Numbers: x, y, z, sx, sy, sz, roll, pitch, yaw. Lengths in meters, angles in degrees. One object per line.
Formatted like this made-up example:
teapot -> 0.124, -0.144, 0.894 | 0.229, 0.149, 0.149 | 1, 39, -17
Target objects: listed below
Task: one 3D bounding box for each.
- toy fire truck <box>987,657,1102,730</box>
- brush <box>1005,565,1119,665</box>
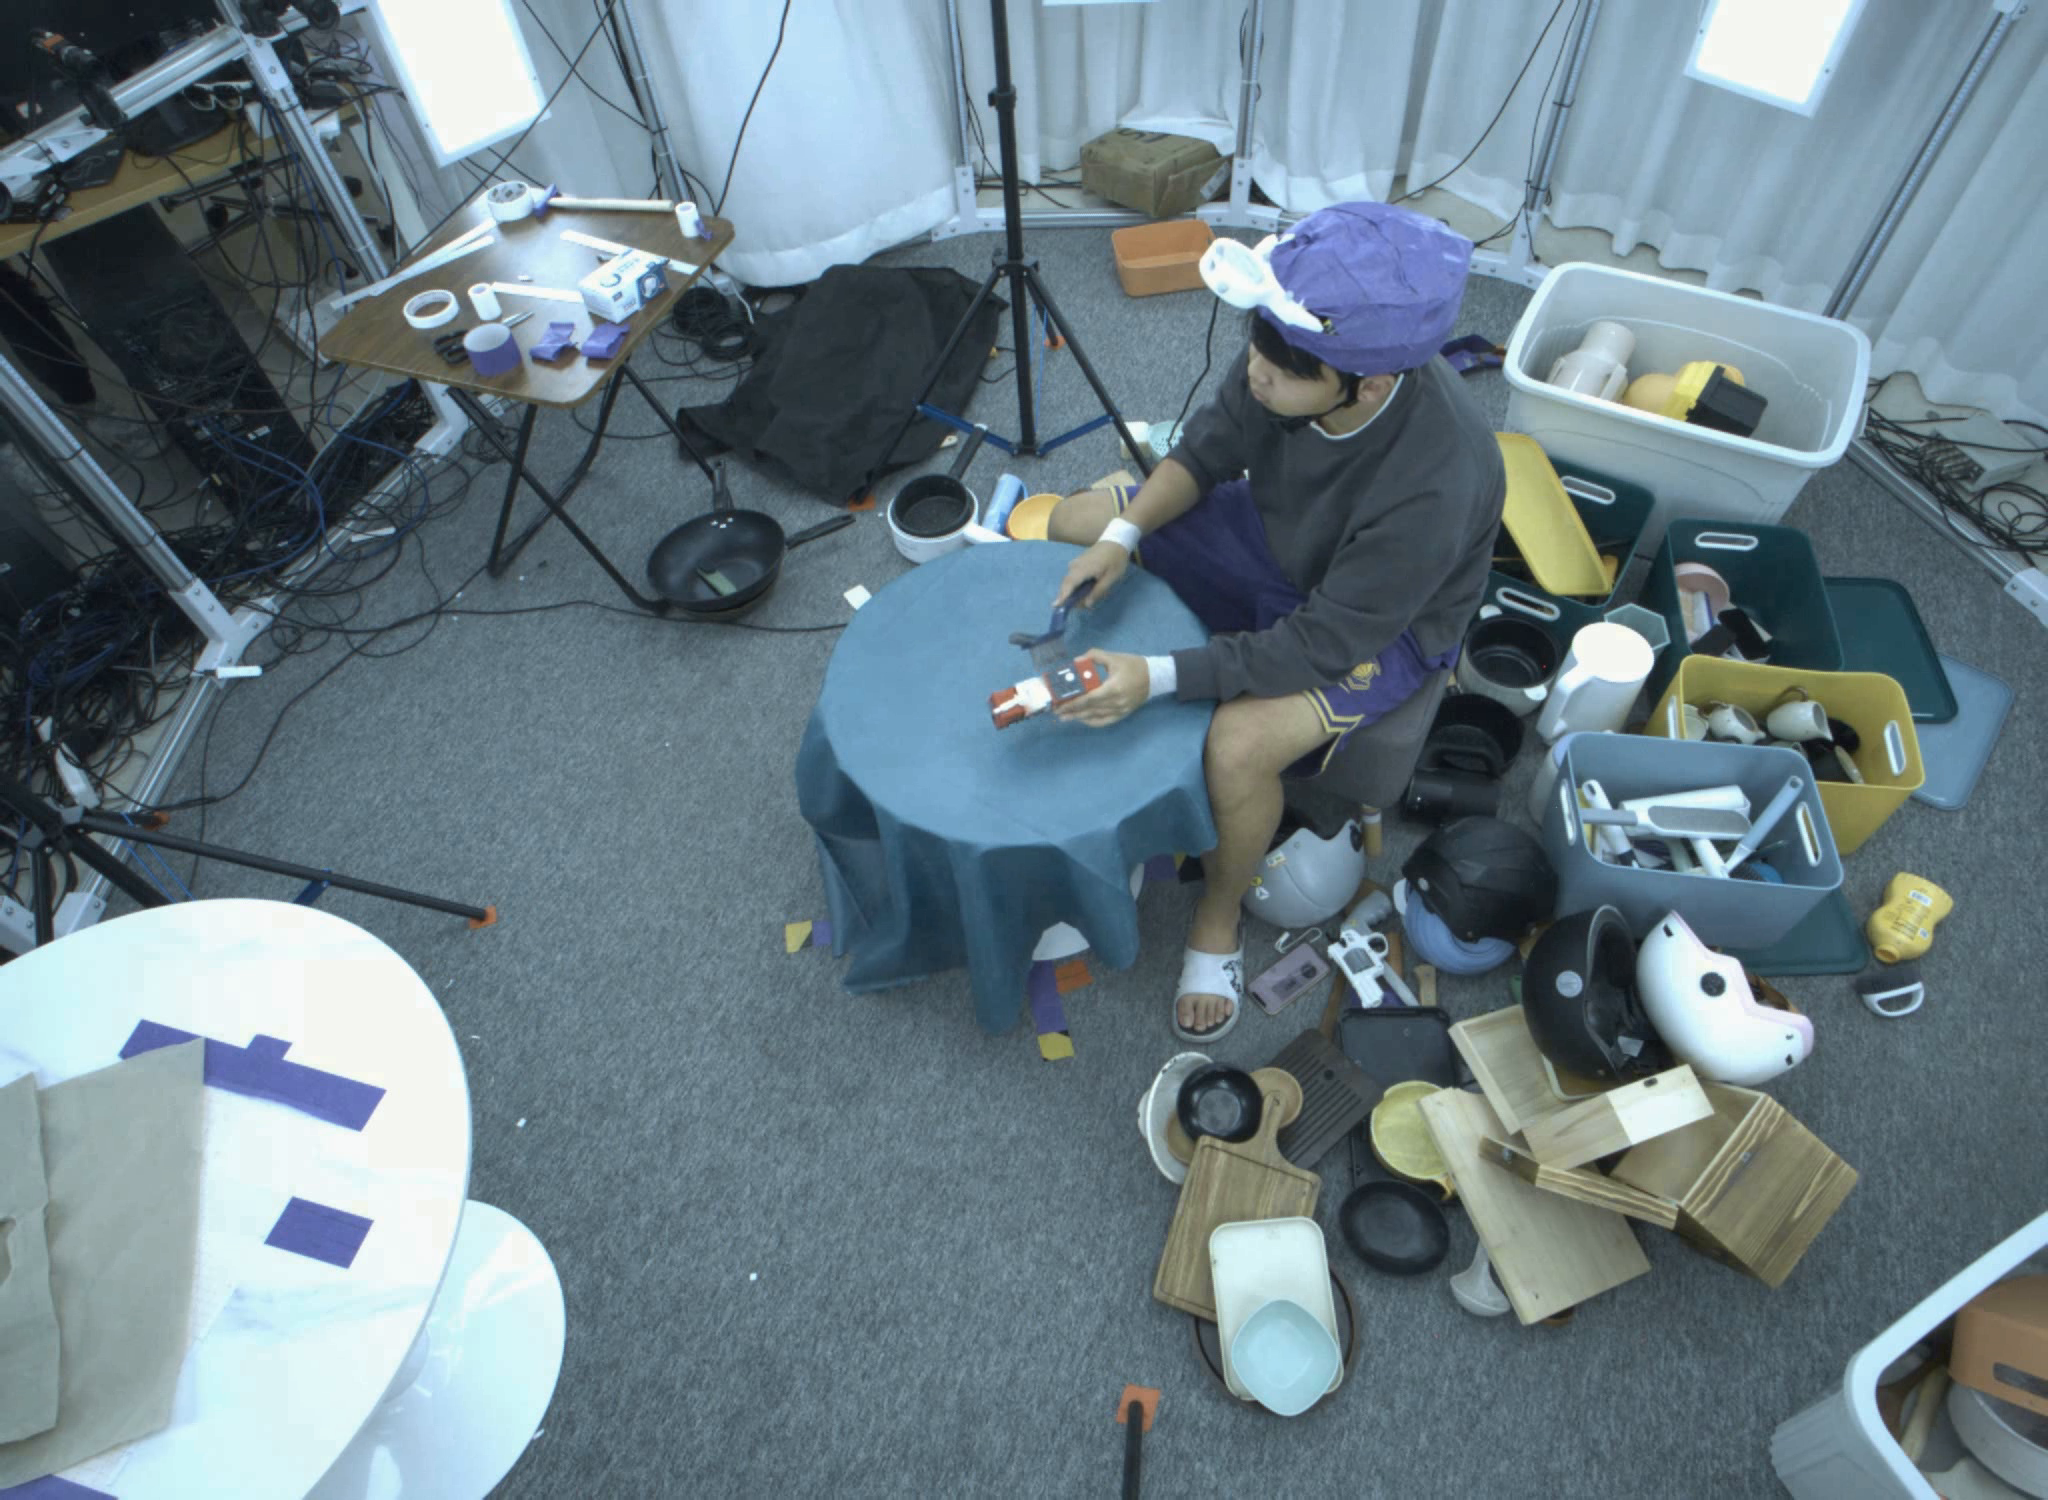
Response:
toy fire truck -> 0.028, -0.080, 1.746 | 0.169, 0.070, 0.054 | -20, 81, -12
brush -> 0.064, -0.219, 1.842 | 0.097, 0.033, 0.273 | 48, 47, -17
